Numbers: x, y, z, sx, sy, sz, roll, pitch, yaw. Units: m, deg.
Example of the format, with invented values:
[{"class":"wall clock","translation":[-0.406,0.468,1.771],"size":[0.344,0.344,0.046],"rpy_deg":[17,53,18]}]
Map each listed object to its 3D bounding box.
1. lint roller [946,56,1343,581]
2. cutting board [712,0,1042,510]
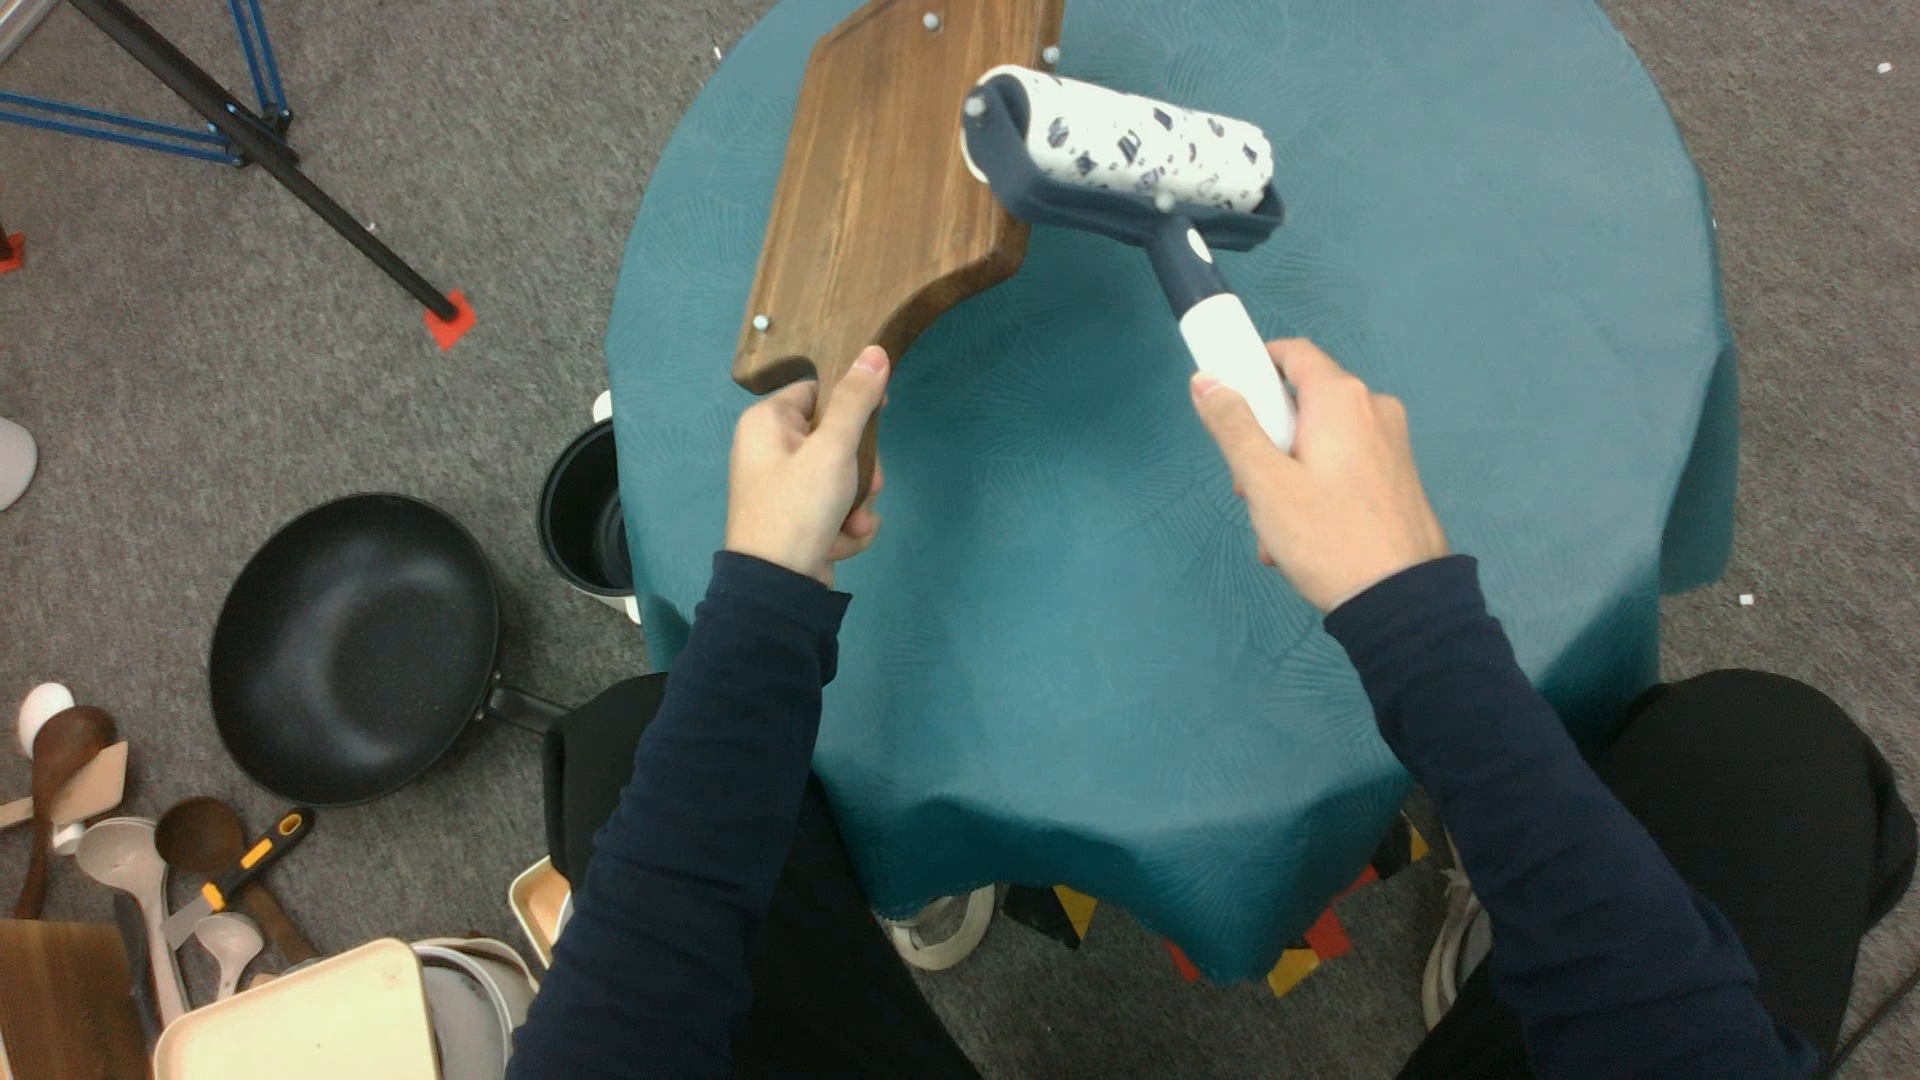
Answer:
[{"class":"lint roller","translation":[0.106,-0.097,0.594],"size":[0.050,0.177,0.247],"rpy_deg":[-43,63,40]},{"class":"cutting board","translation":[-0.046,-0.172,0.696],"size":[0.200,0.023,0.353],"rpy_deg":[-18,53,40]}]
